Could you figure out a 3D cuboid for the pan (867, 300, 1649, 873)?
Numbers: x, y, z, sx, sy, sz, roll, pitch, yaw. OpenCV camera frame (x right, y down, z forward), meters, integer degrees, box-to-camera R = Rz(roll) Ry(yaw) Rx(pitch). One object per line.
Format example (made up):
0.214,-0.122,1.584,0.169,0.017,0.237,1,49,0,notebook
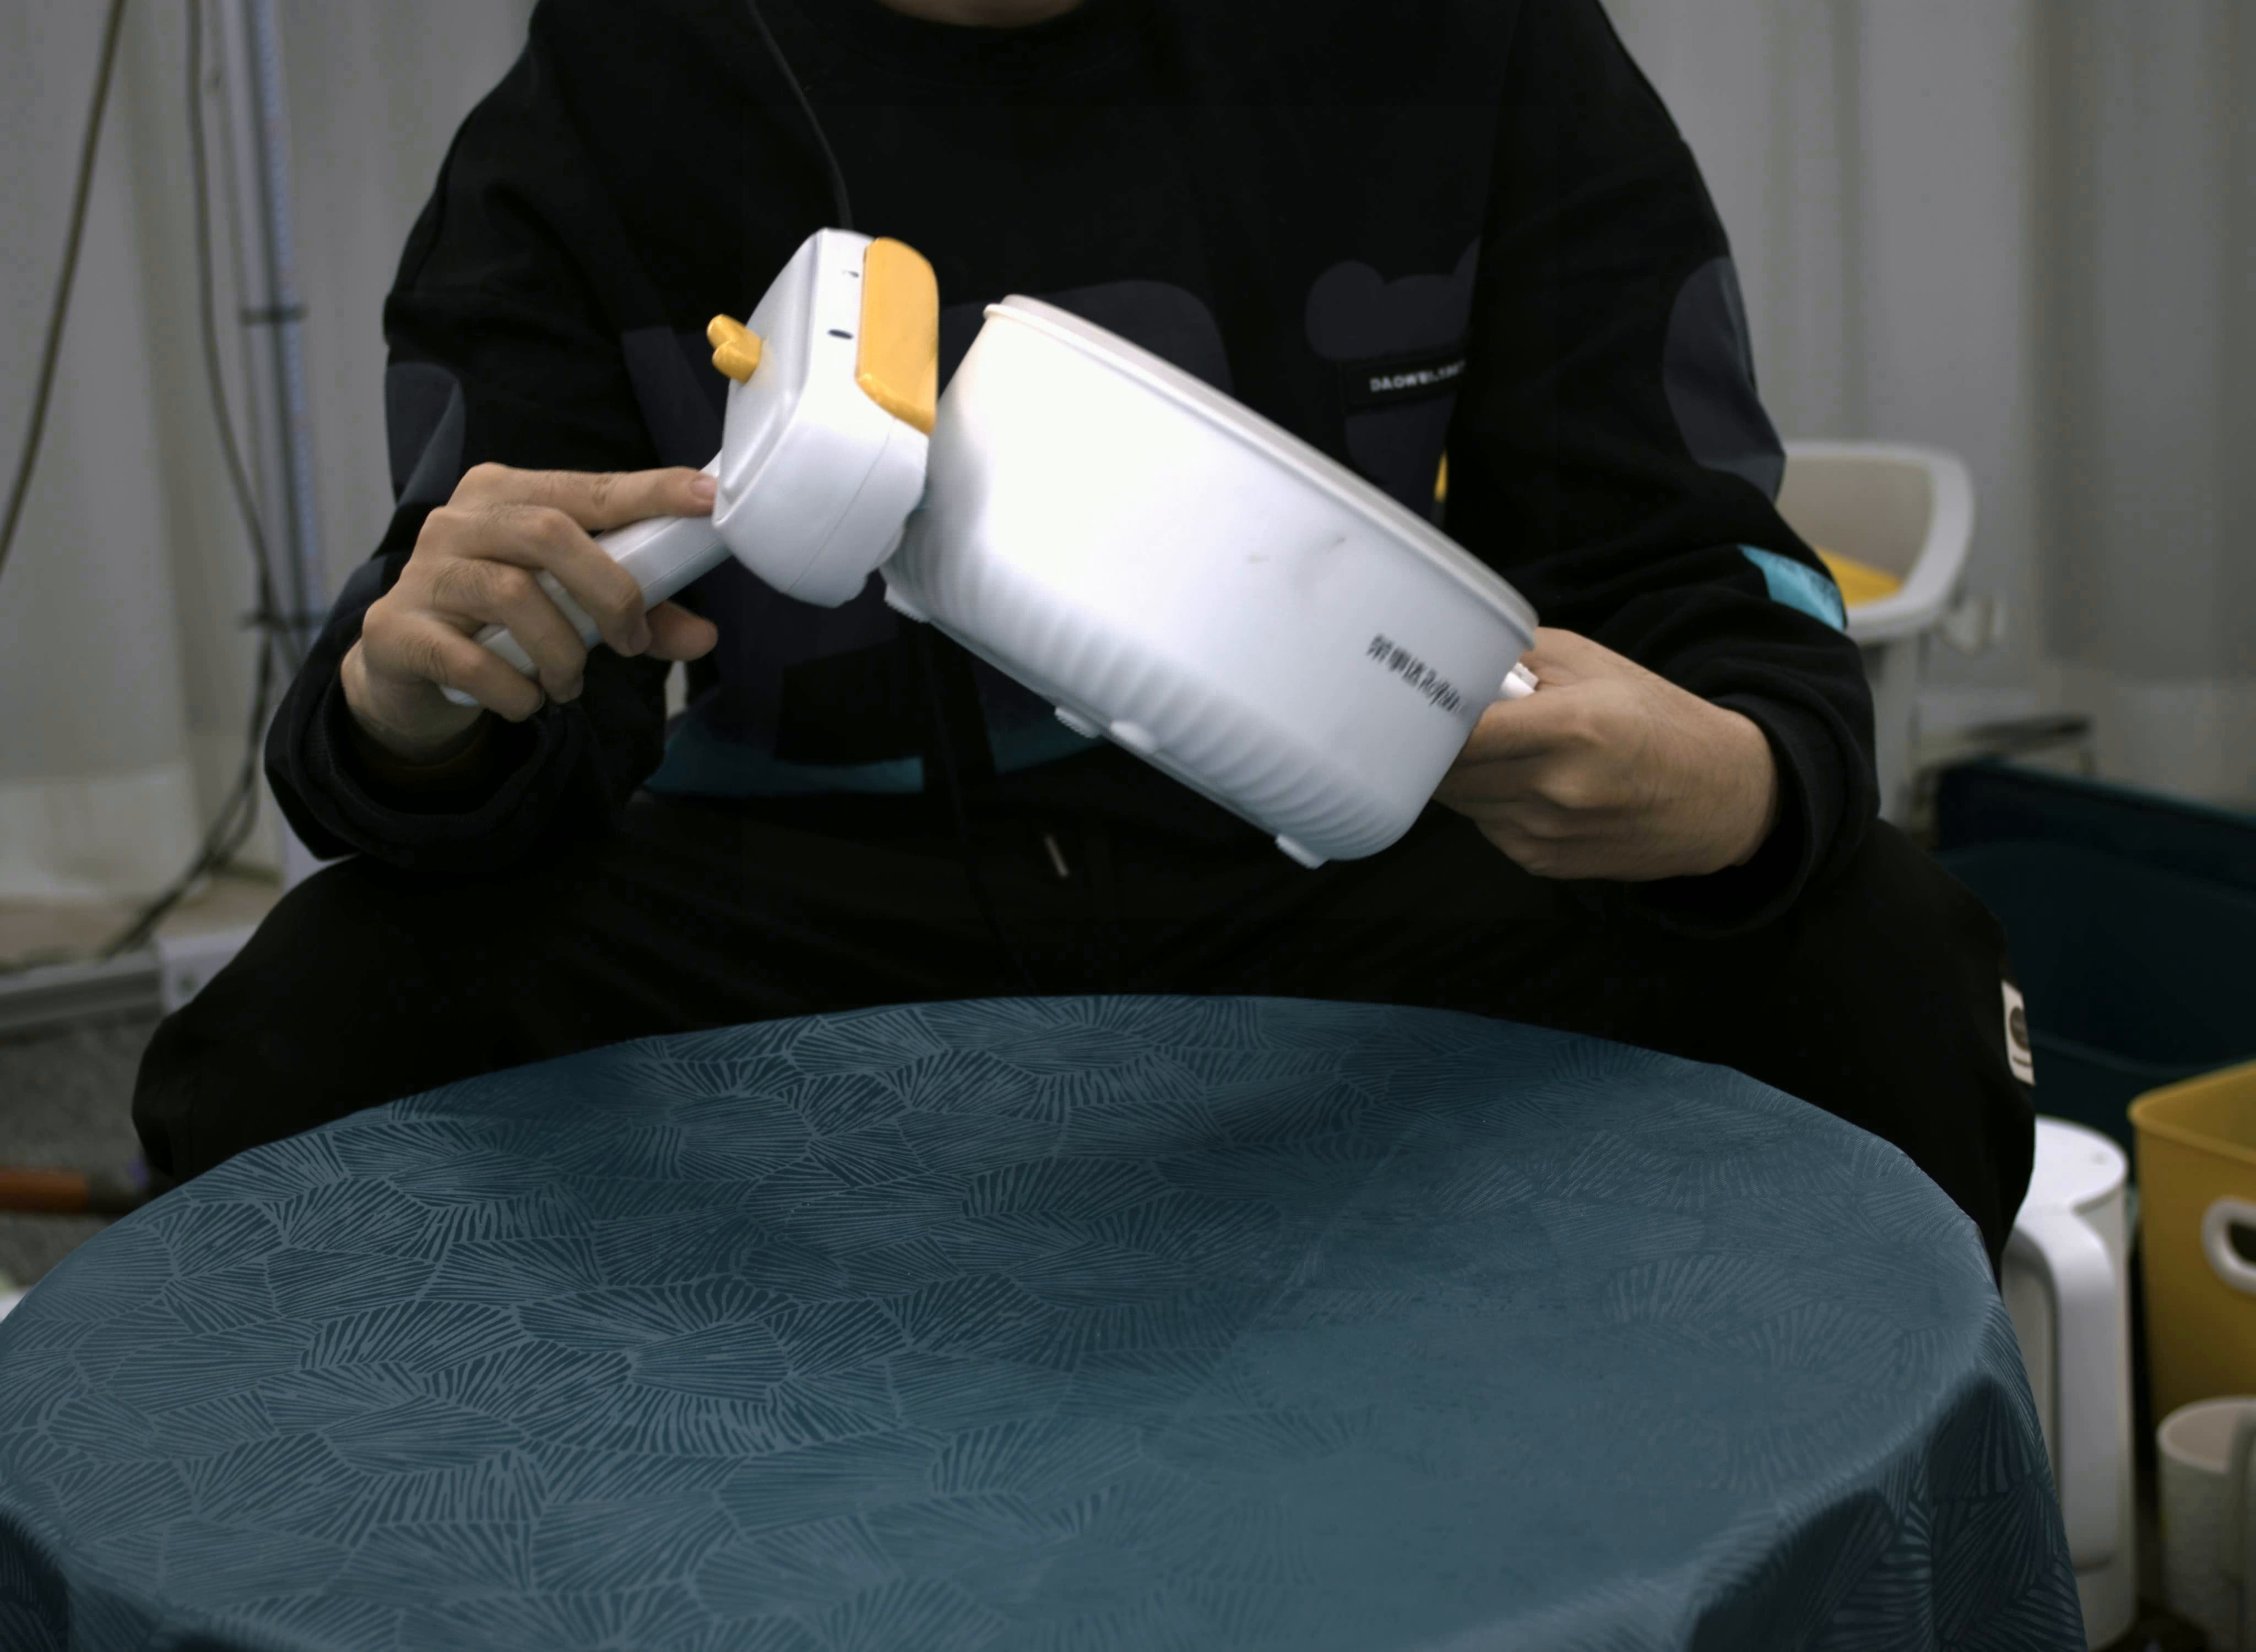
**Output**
0.055,-0.043,1.760,0.203,0.102,0.350,30,-2,38,pan

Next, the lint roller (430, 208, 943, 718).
-0.136,-0.097,1.706,0.073,0.192,0.195,39,14,-22,lint roller
